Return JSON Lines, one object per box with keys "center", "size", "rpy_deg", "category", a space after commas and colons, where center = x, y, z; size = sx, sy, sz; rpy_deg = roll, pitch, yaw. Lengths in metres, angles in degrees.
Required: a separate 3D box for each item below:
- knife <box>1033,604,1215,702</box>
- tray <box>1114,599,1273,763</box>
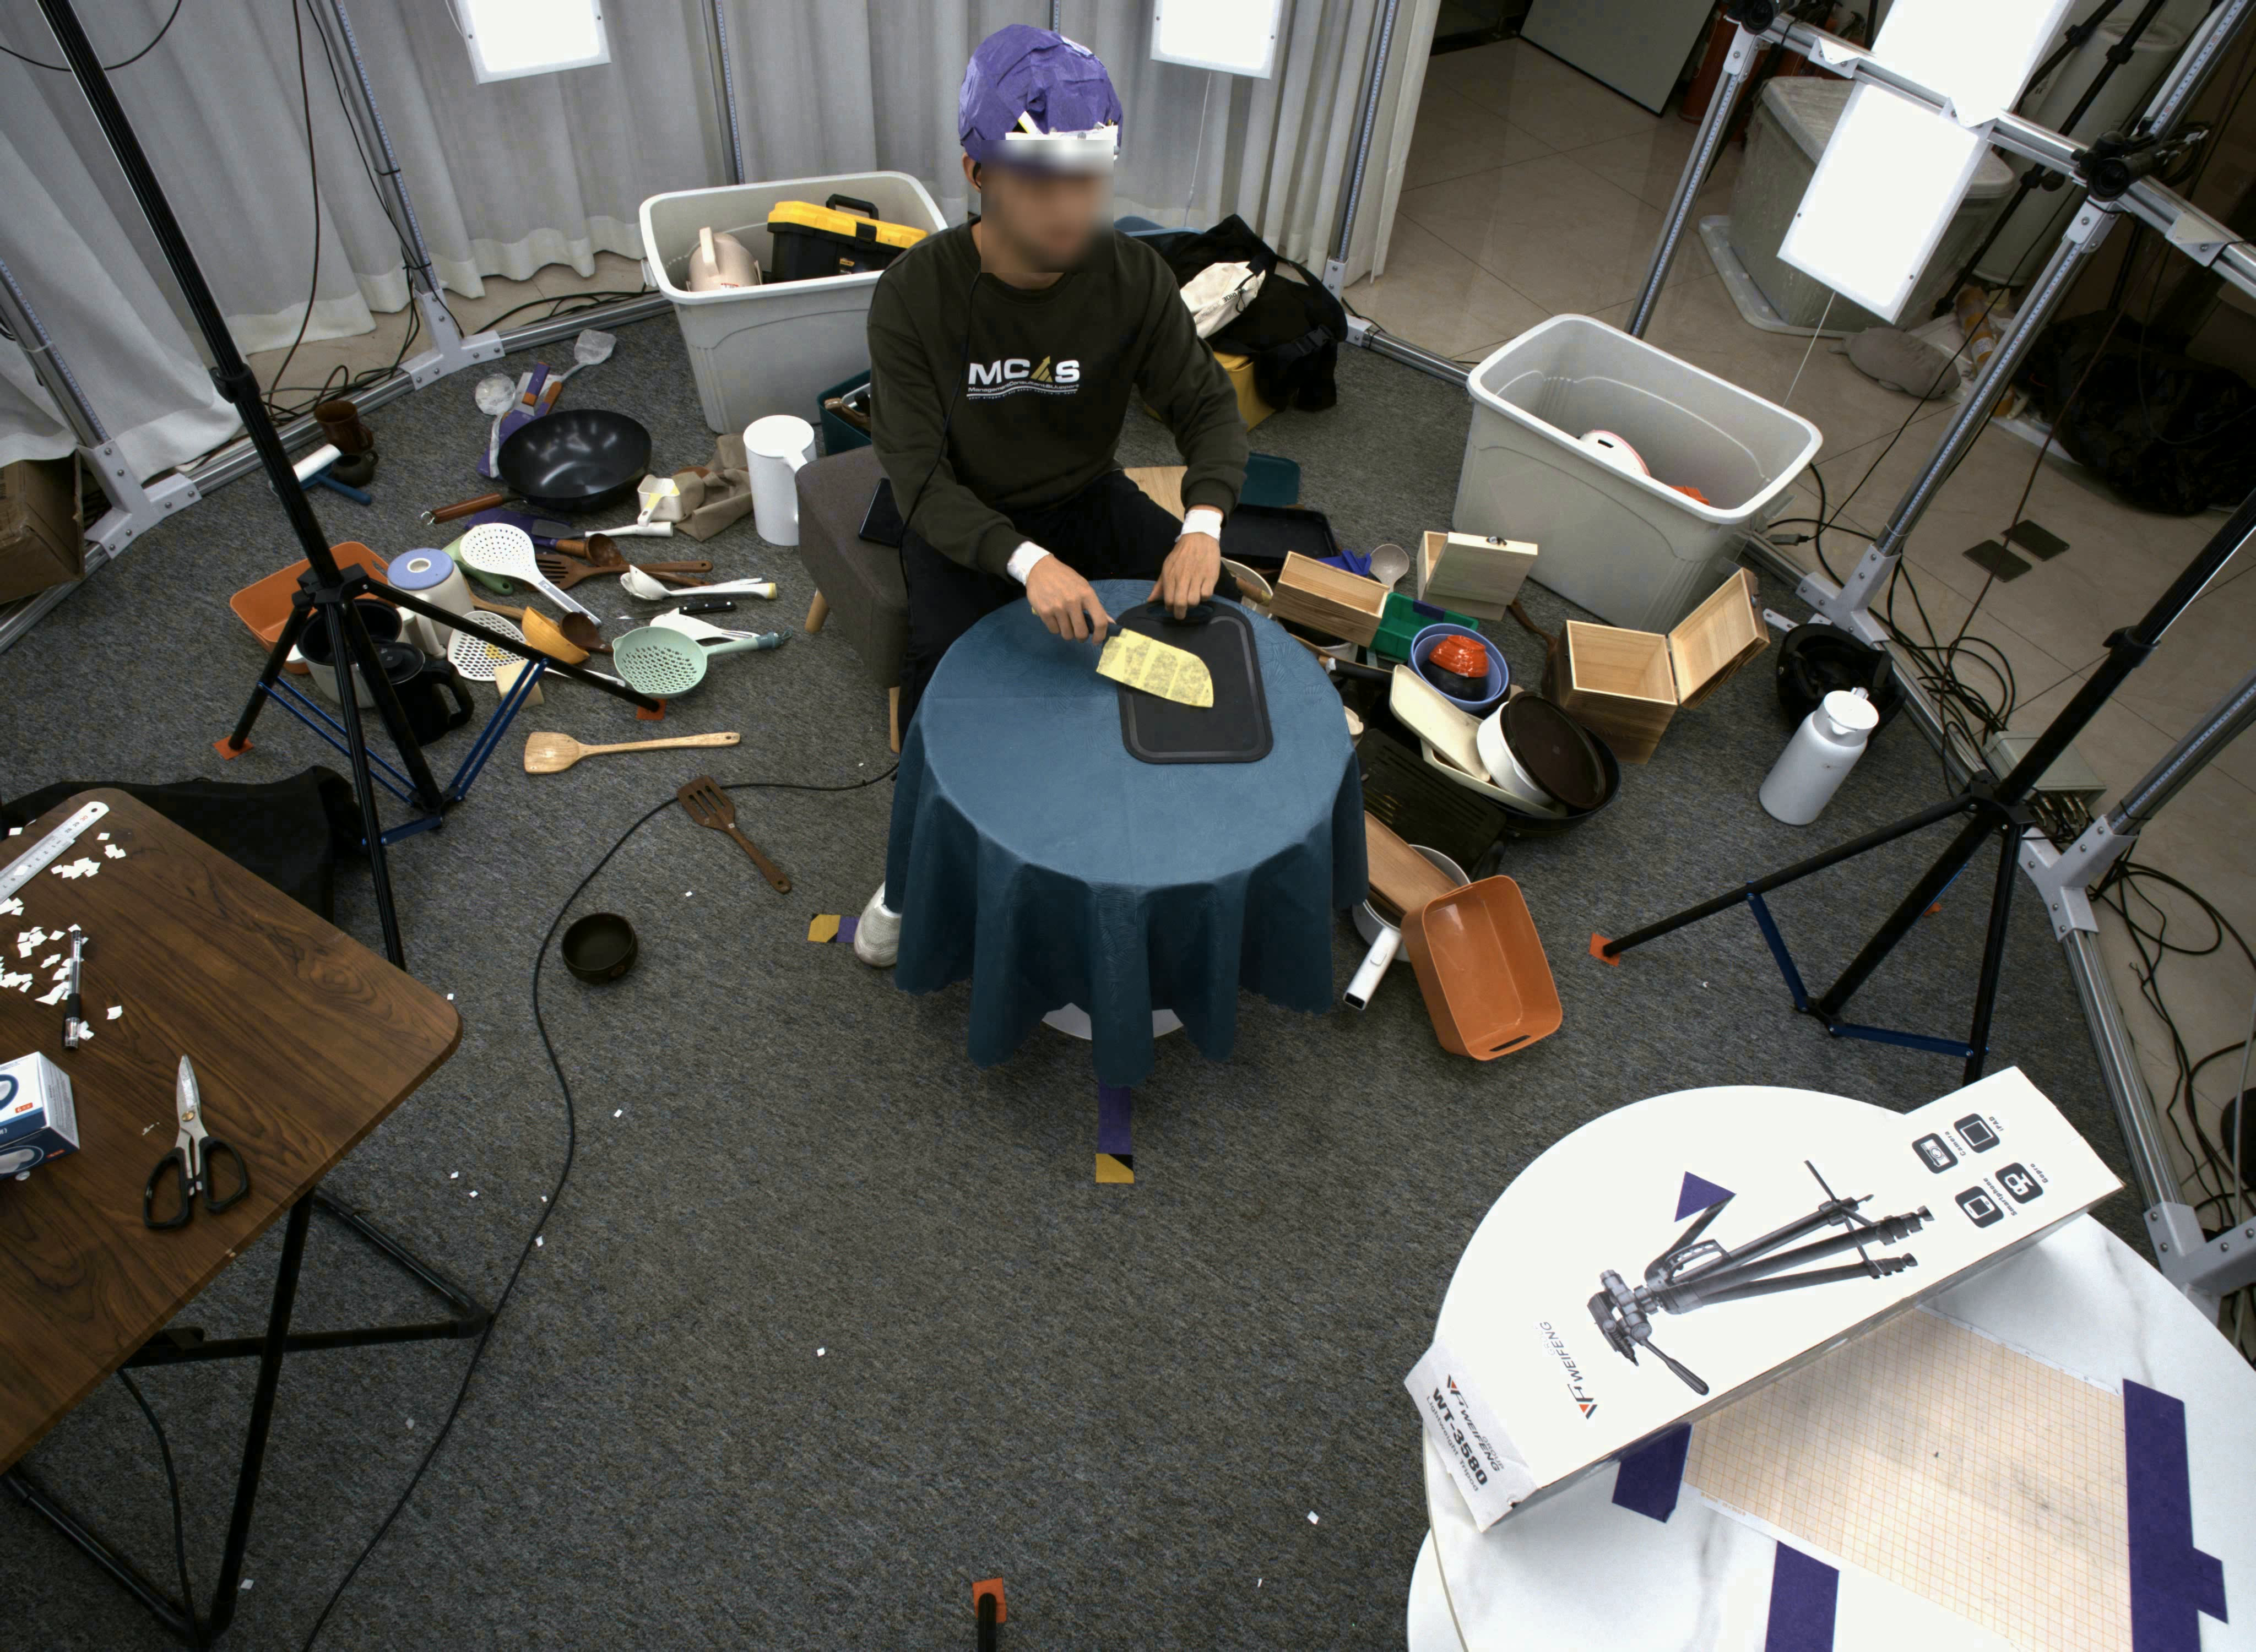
{"center": [-0.009, -0.248, 1.830], "size": [0.290, 0.027, 0.081], "rpy_deg": [24, 89, 8], "category": "knife"}
{"center": [0.089, -0.217, 1.851], "size": [0.211, 0.009, 0.333], "rpy_deg": [-1, 51, -4], "category": "tray"}
